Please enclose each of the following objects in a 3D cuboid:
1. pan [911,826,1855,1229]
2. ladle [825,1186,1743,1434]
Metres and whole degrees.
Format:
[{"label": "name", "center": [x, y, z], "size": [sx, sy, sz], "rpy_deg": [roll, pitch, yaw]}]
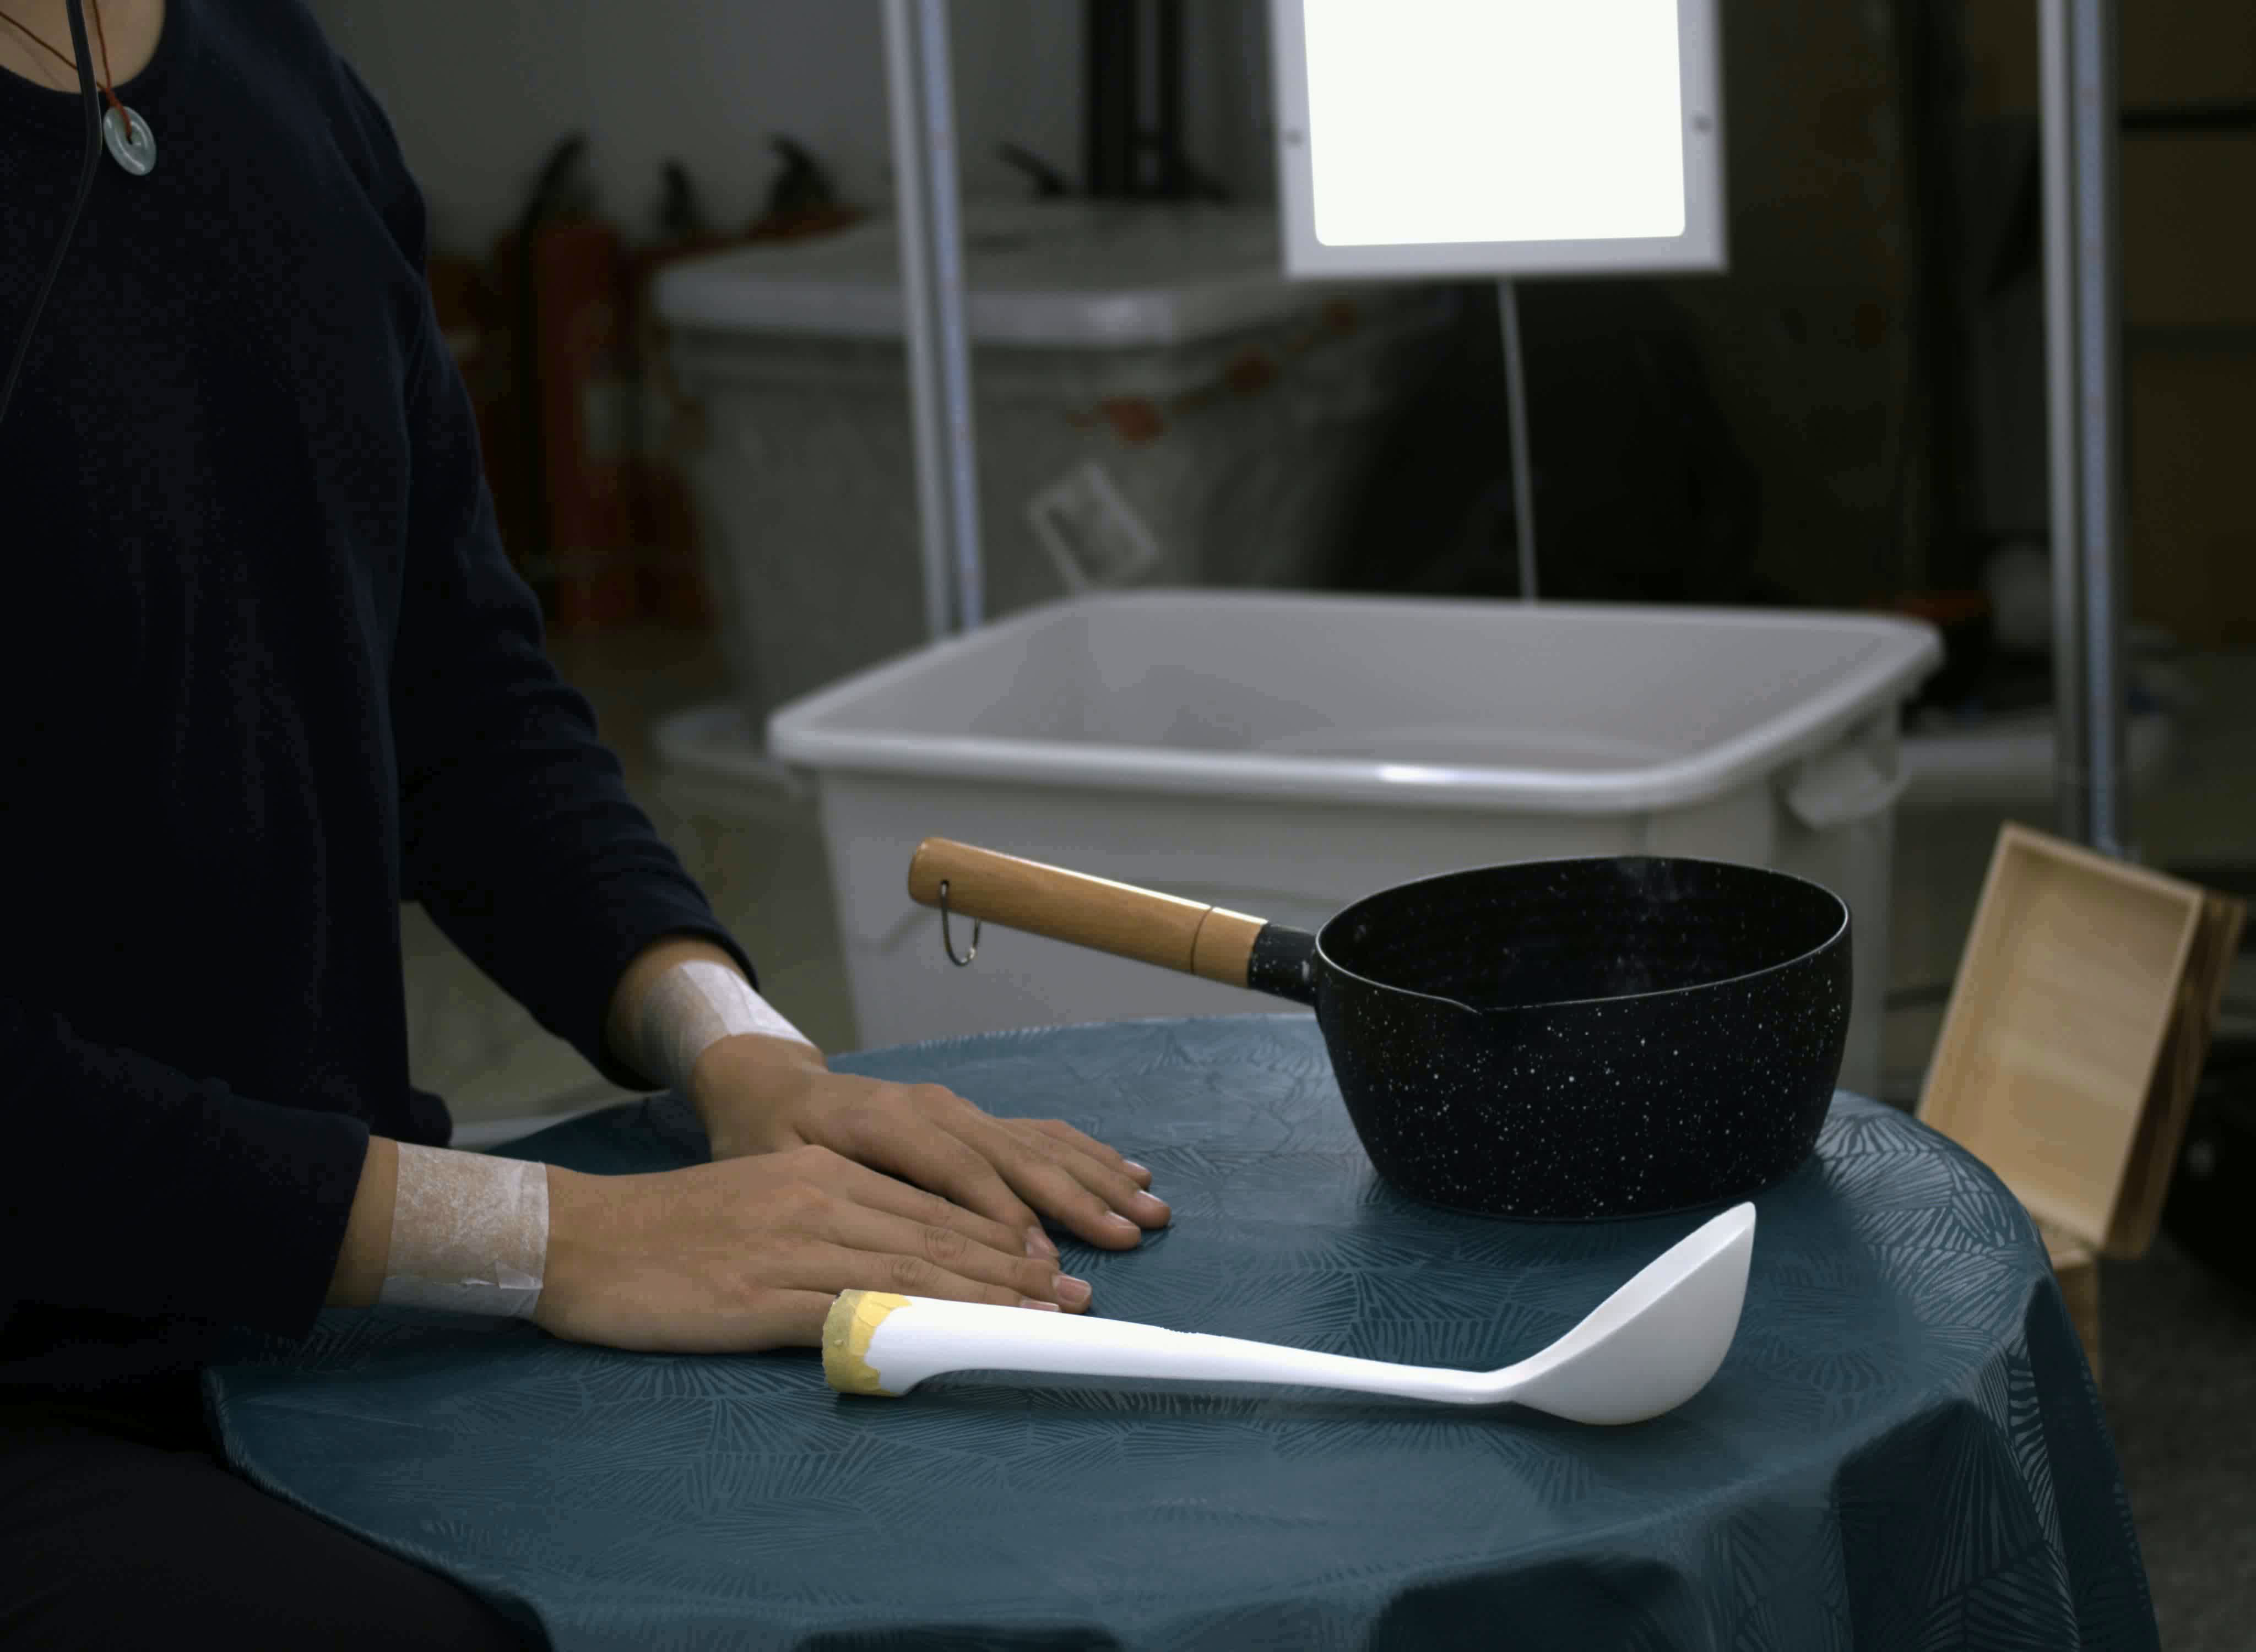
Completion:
[{"label": "pan", "center": [0.083, 0.060, 1.908], "size": [0.348, 0.108, 0.203], "rpy_deg": [2, 17, 22]}, {"label": "ladle", "center": [0.045, 0.147, 1.661], "size": [0.297, 0.070, 0.088], "rpy_deg": [-1, 20, 22]}]
